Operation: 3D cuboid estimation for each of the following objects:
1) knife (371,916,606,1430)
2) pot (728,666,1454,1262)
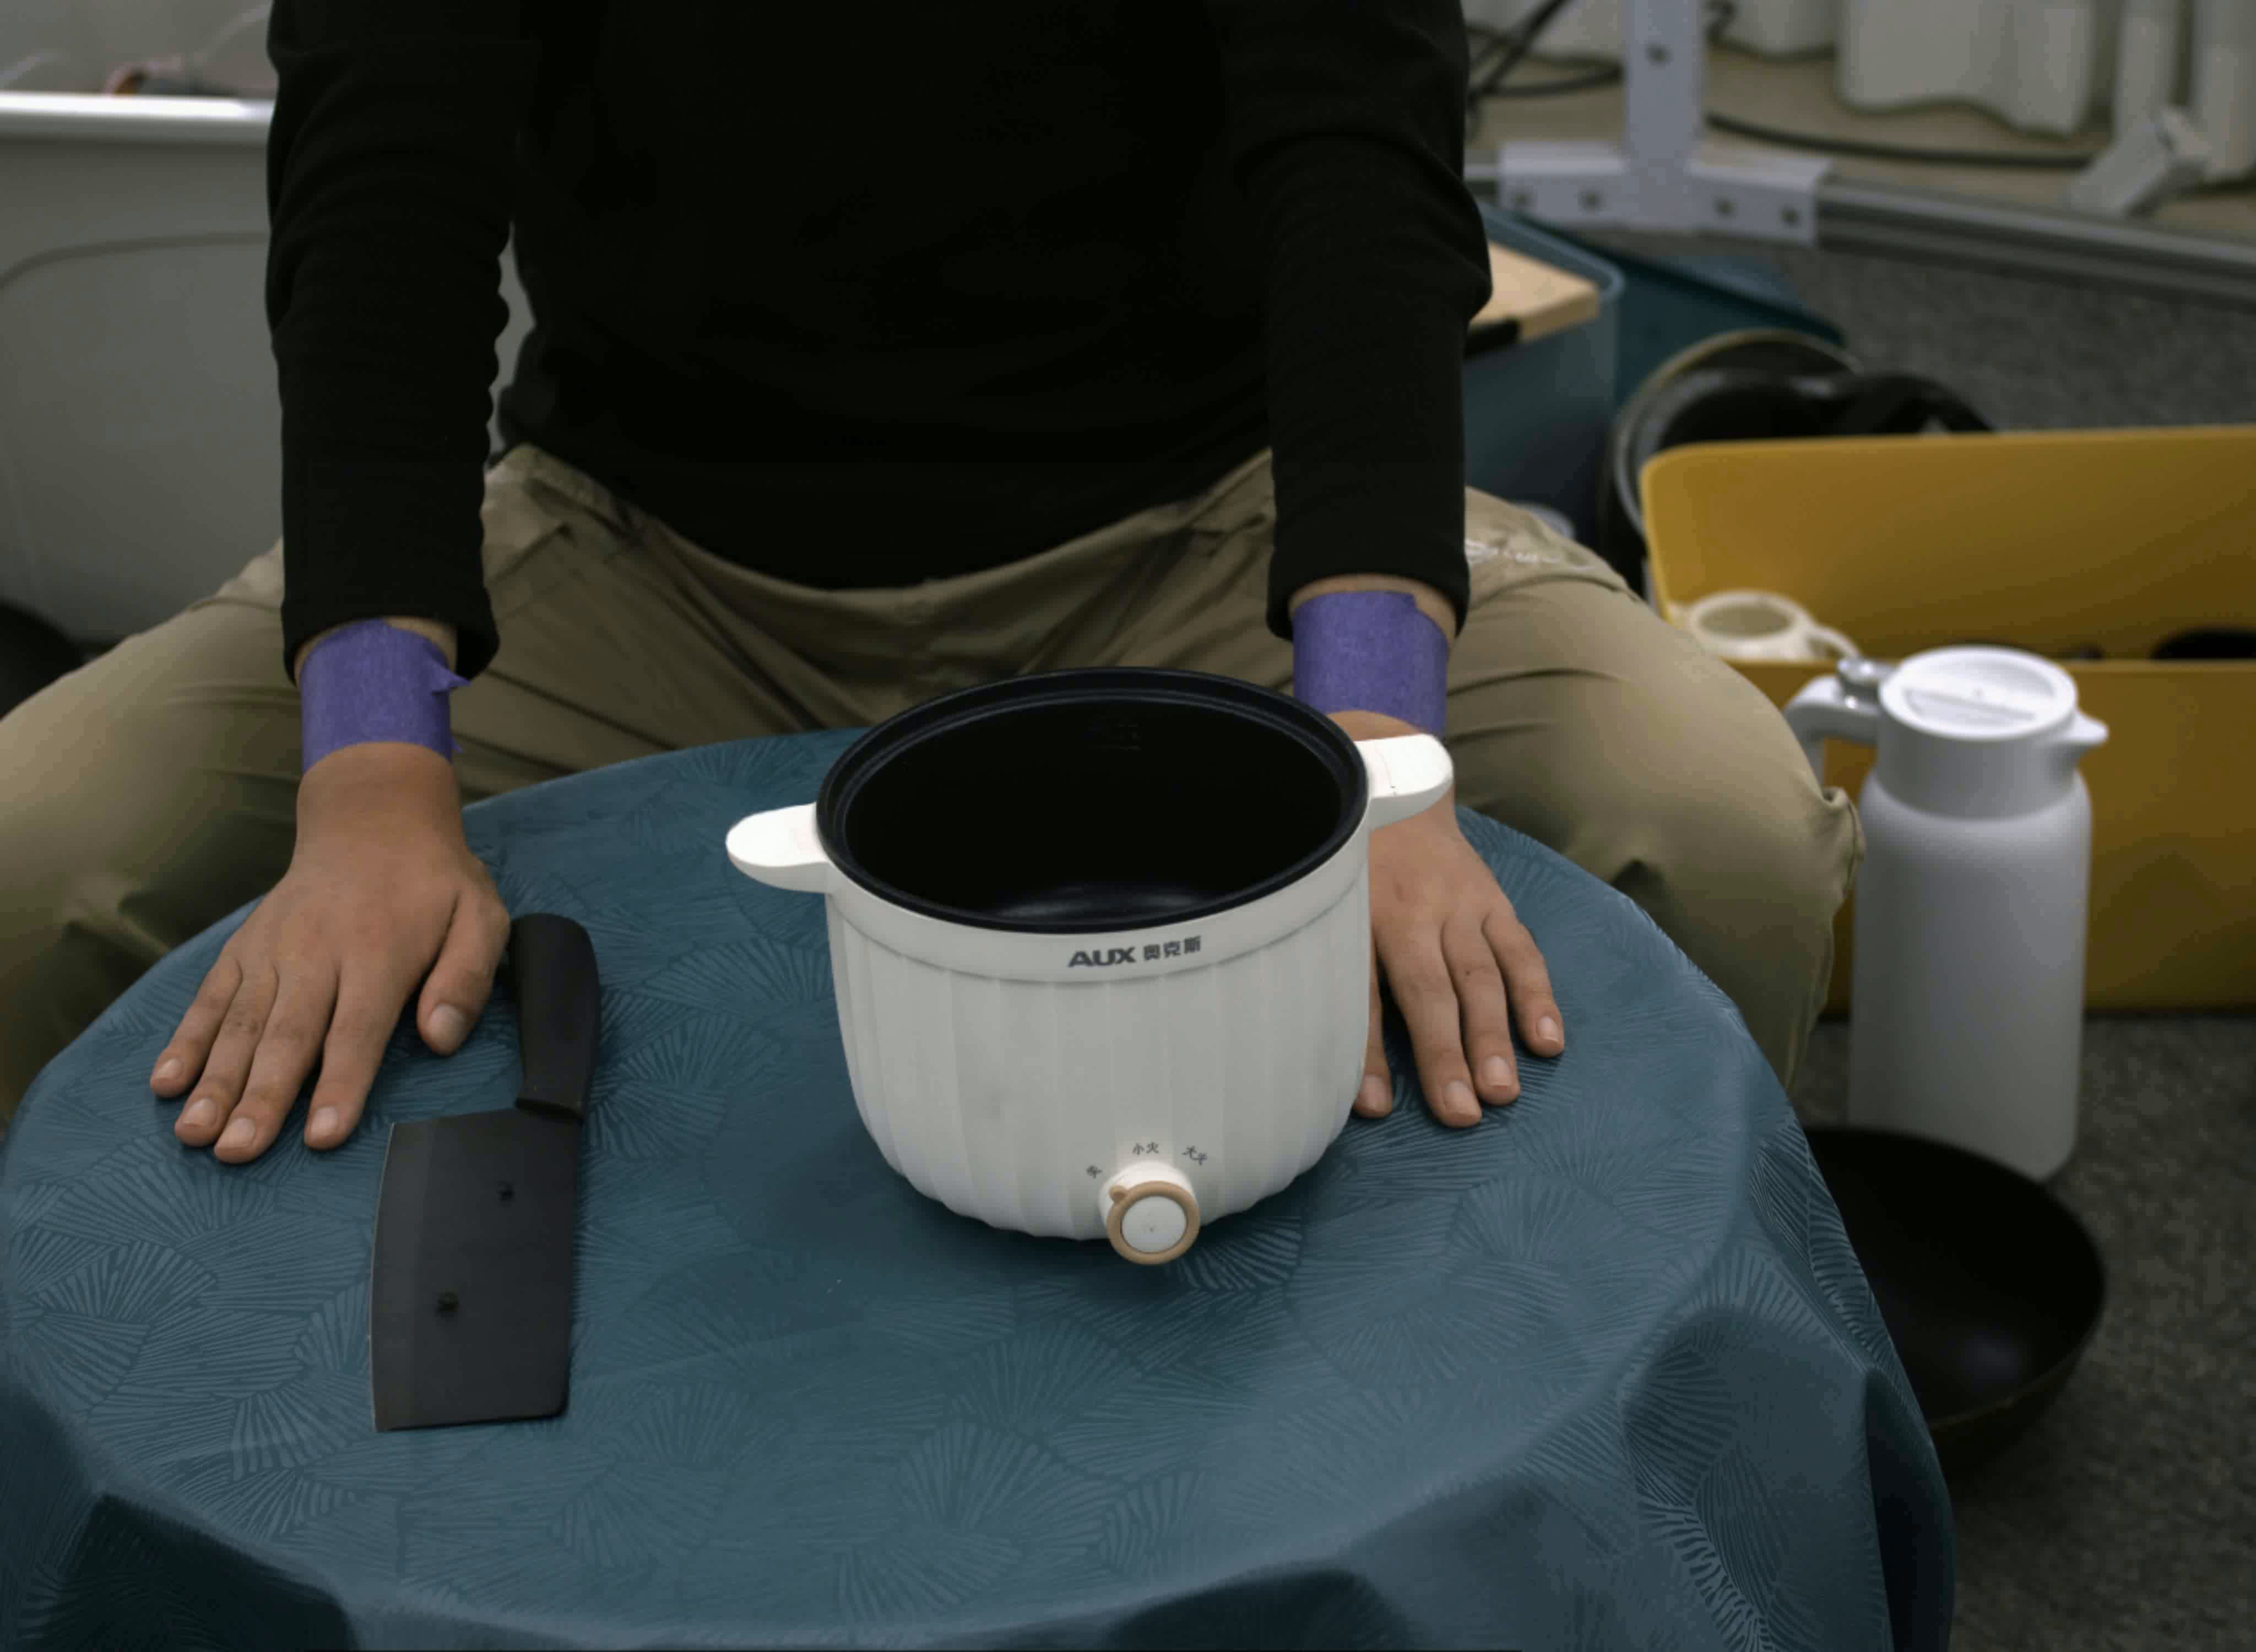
[{"bbox_3d":[-0.211,0.113,1.881,0.080,0.020,0.307,-3,29,3],"label":"knife"},{"bbox_3d":[-0.006,0.049,1.852,0.240,0.141,0.192,-8,24,-7],"label":"pot"}]
